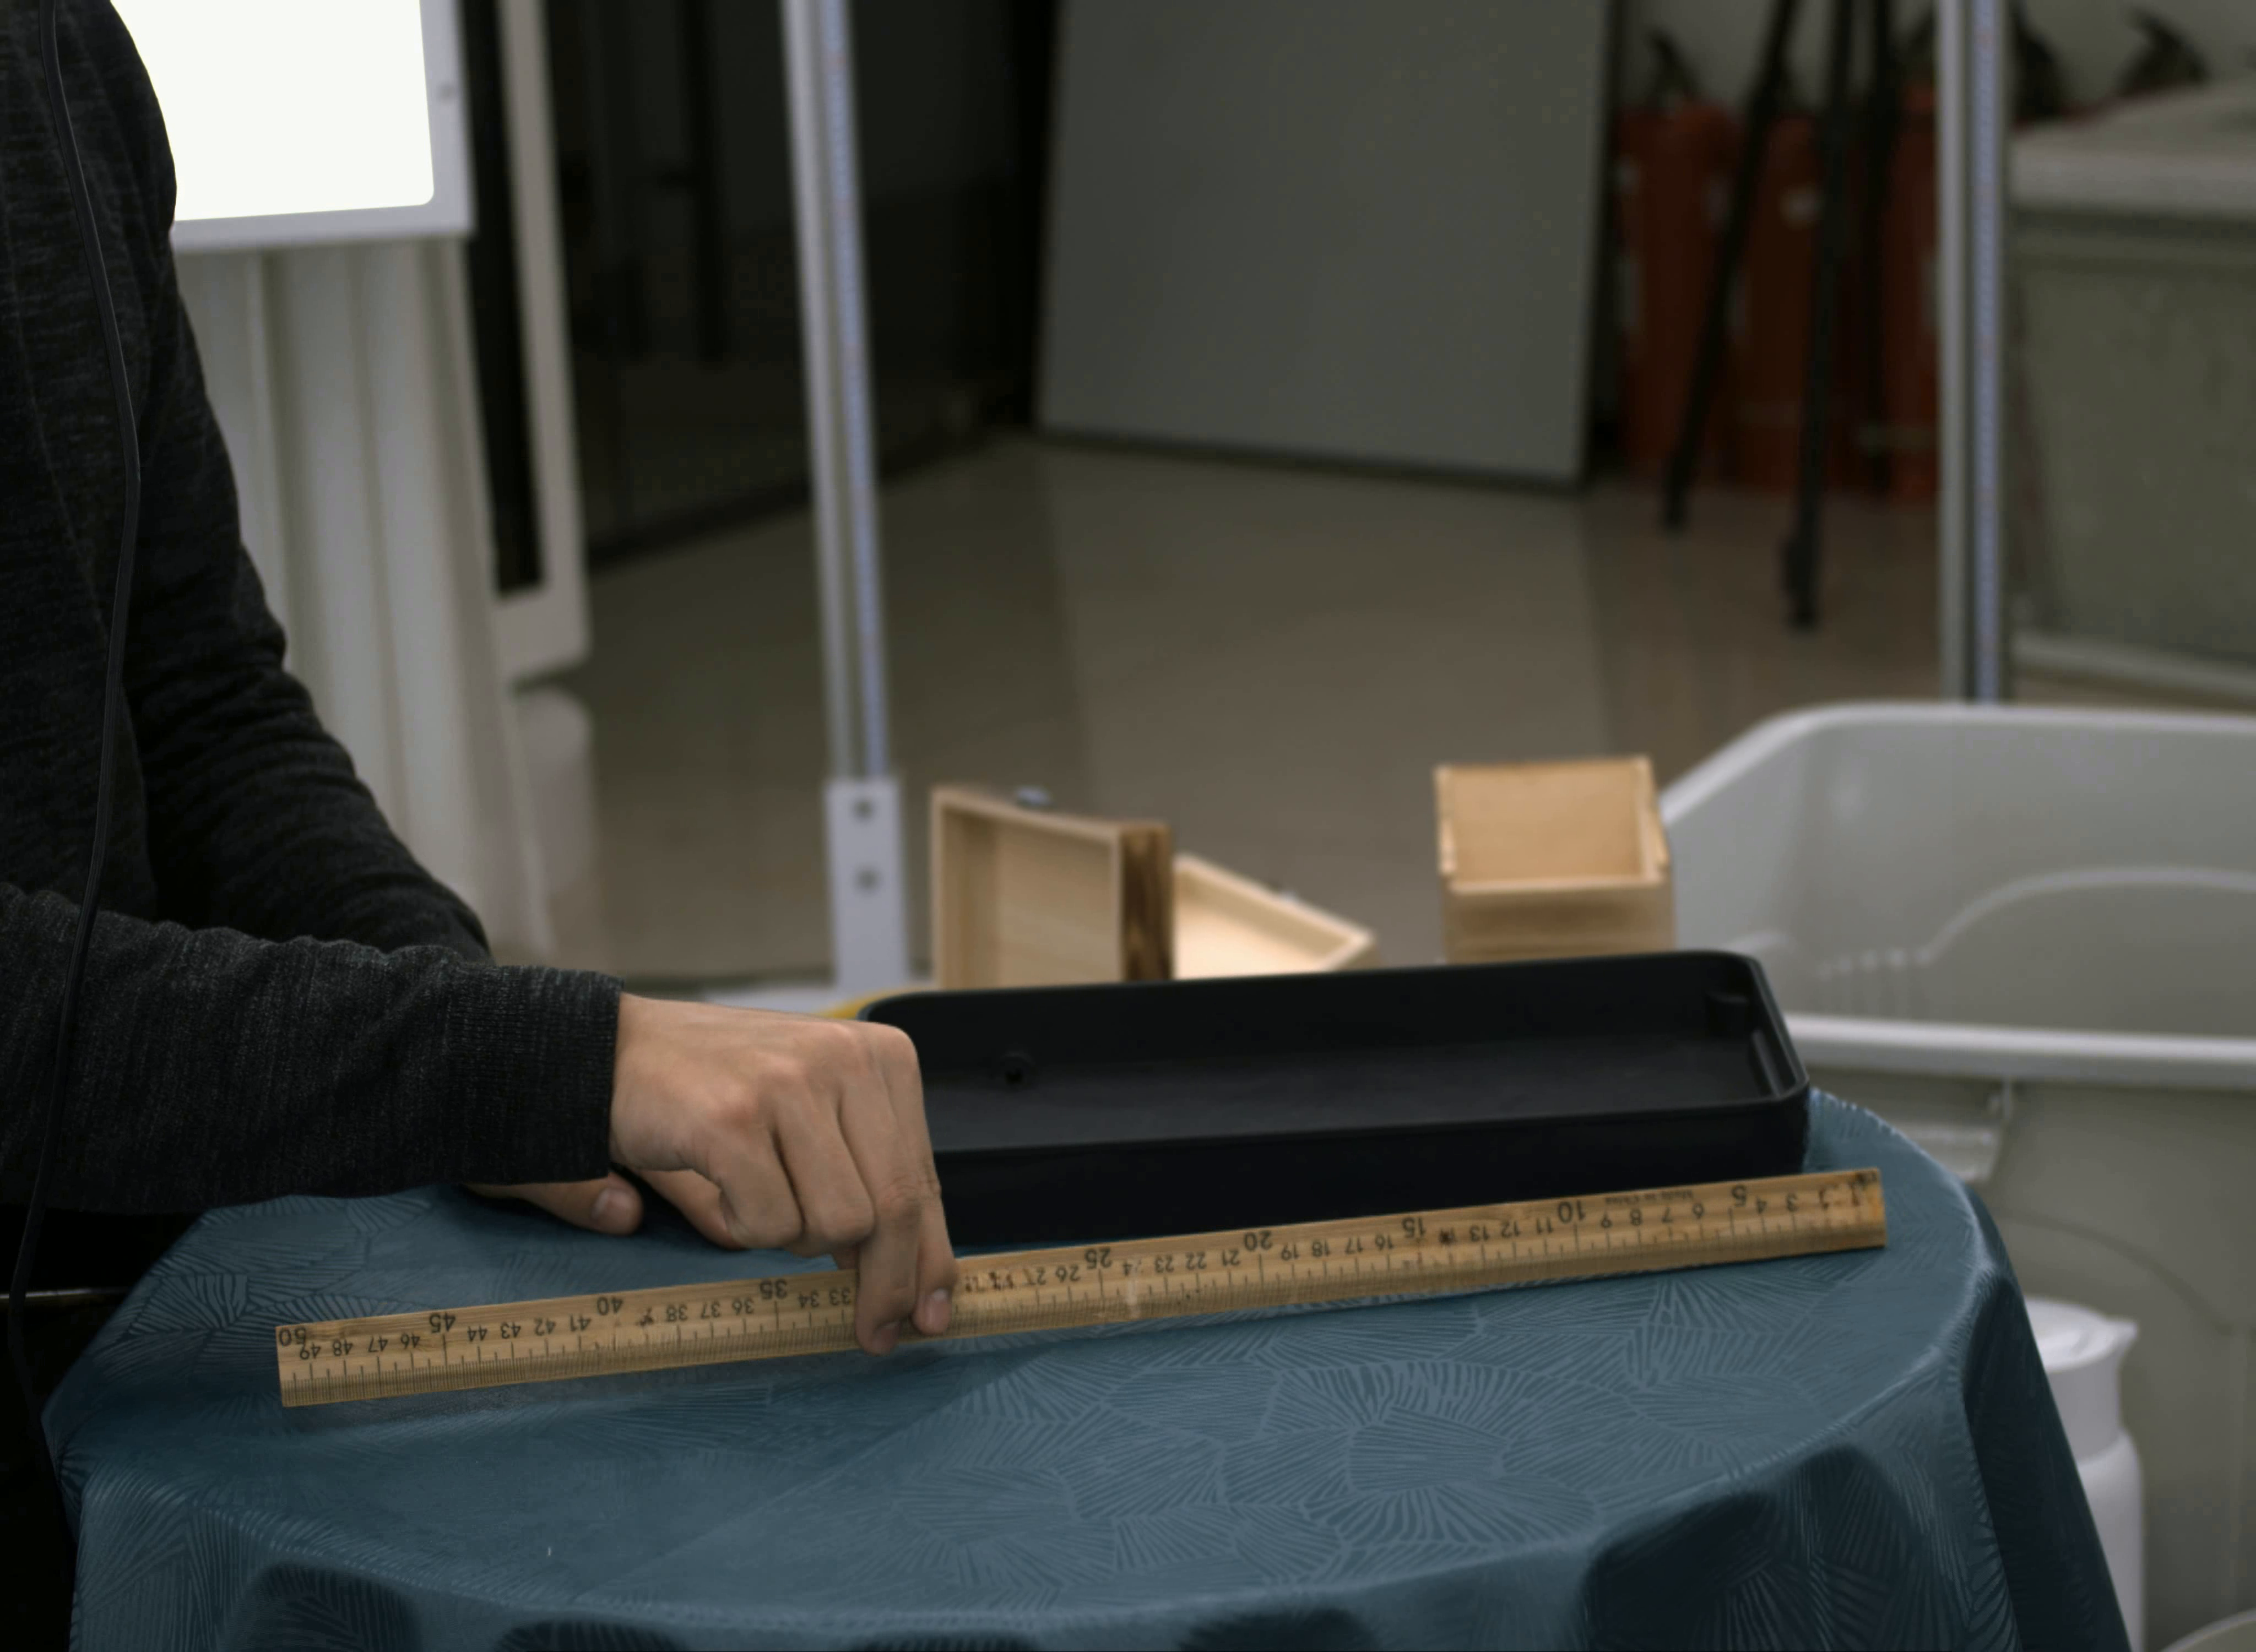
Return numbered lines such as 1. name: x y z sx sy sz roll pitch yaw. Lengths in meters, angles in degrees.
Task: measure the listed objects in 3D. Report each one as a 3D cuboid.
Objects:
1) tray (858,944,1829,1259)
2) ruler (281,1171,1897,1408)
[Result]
1. tray: 0.069 0.090 1.802 0.314 0.037 0.184 -5 13 1
2. ruler: -0.007 0.139 1.634 0.492 0.027 0.006 -5 -5 -6
